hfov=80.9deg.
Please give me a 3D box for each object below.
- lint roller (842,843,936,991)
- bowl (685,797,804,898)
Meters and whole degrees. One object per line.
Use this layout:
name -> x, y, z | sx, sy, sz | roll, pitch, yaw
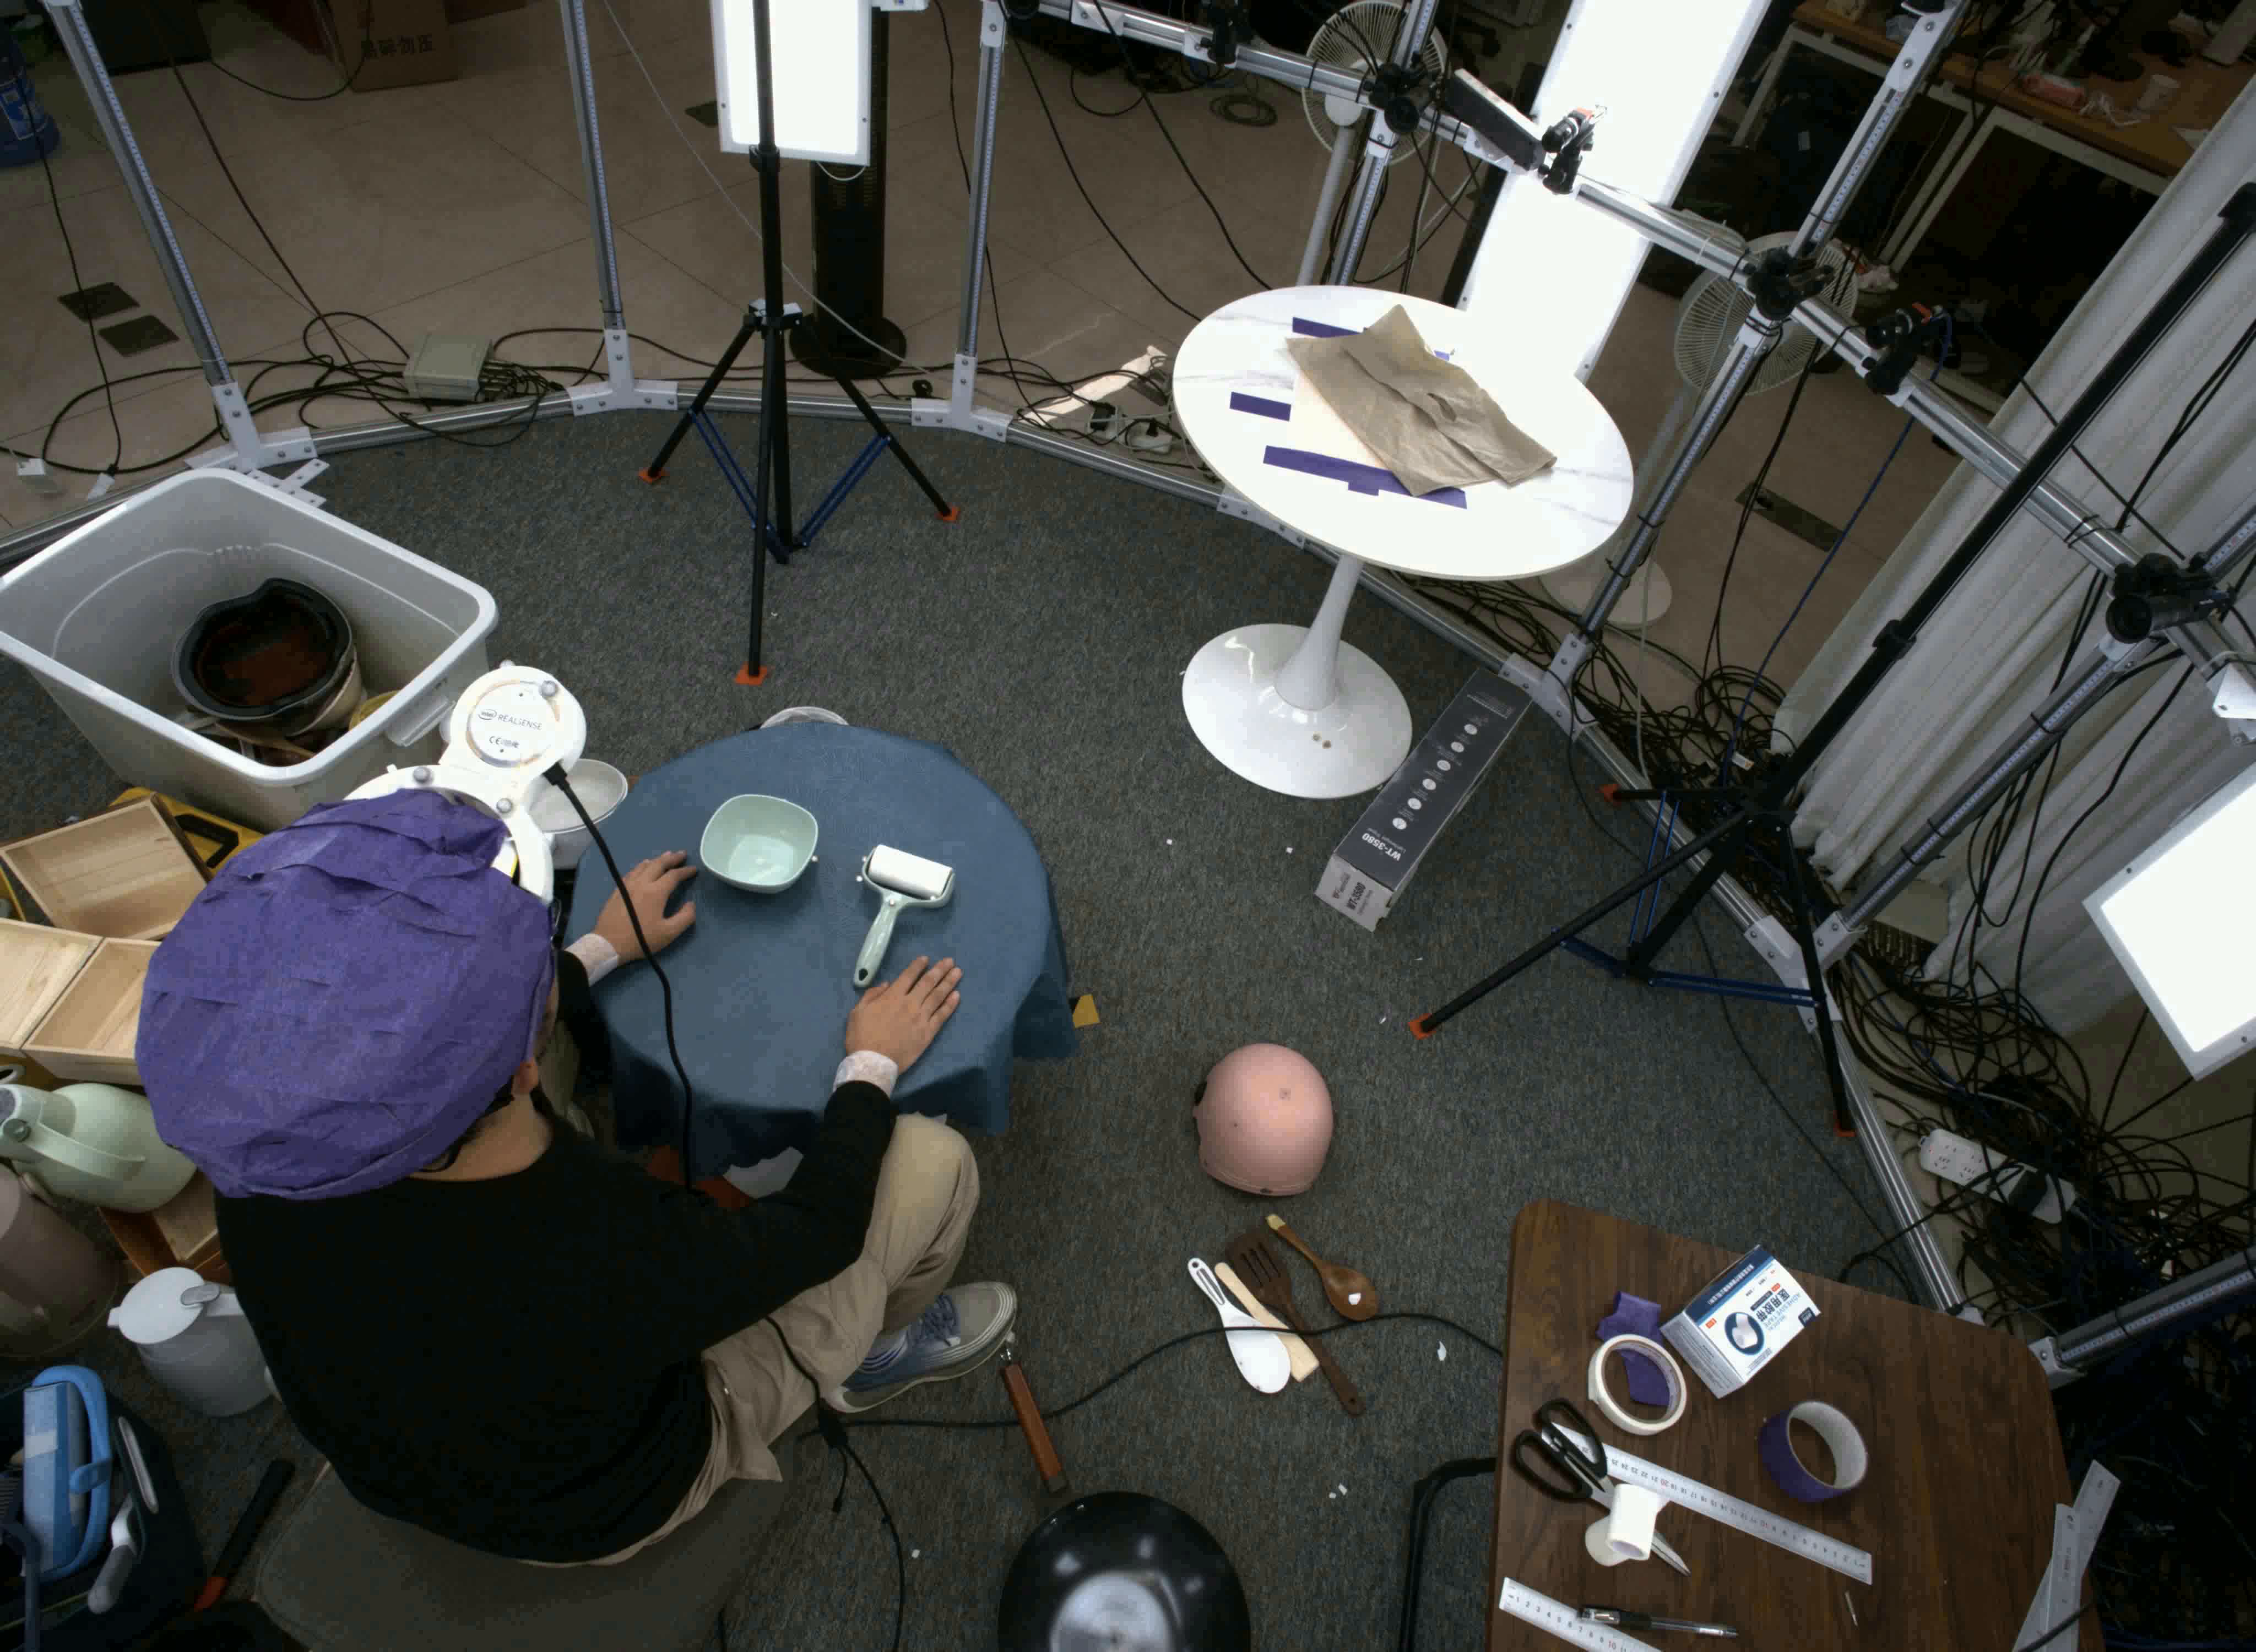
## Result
lint roller -> -0.322, 0.113, 1.633 | 0.116, 0.049, 0.195 | 18, 53, -2
bowl -> -0.485, 0.036, 1.640 | 0.151, 0.060, 0.148 | 9, 51, -9
